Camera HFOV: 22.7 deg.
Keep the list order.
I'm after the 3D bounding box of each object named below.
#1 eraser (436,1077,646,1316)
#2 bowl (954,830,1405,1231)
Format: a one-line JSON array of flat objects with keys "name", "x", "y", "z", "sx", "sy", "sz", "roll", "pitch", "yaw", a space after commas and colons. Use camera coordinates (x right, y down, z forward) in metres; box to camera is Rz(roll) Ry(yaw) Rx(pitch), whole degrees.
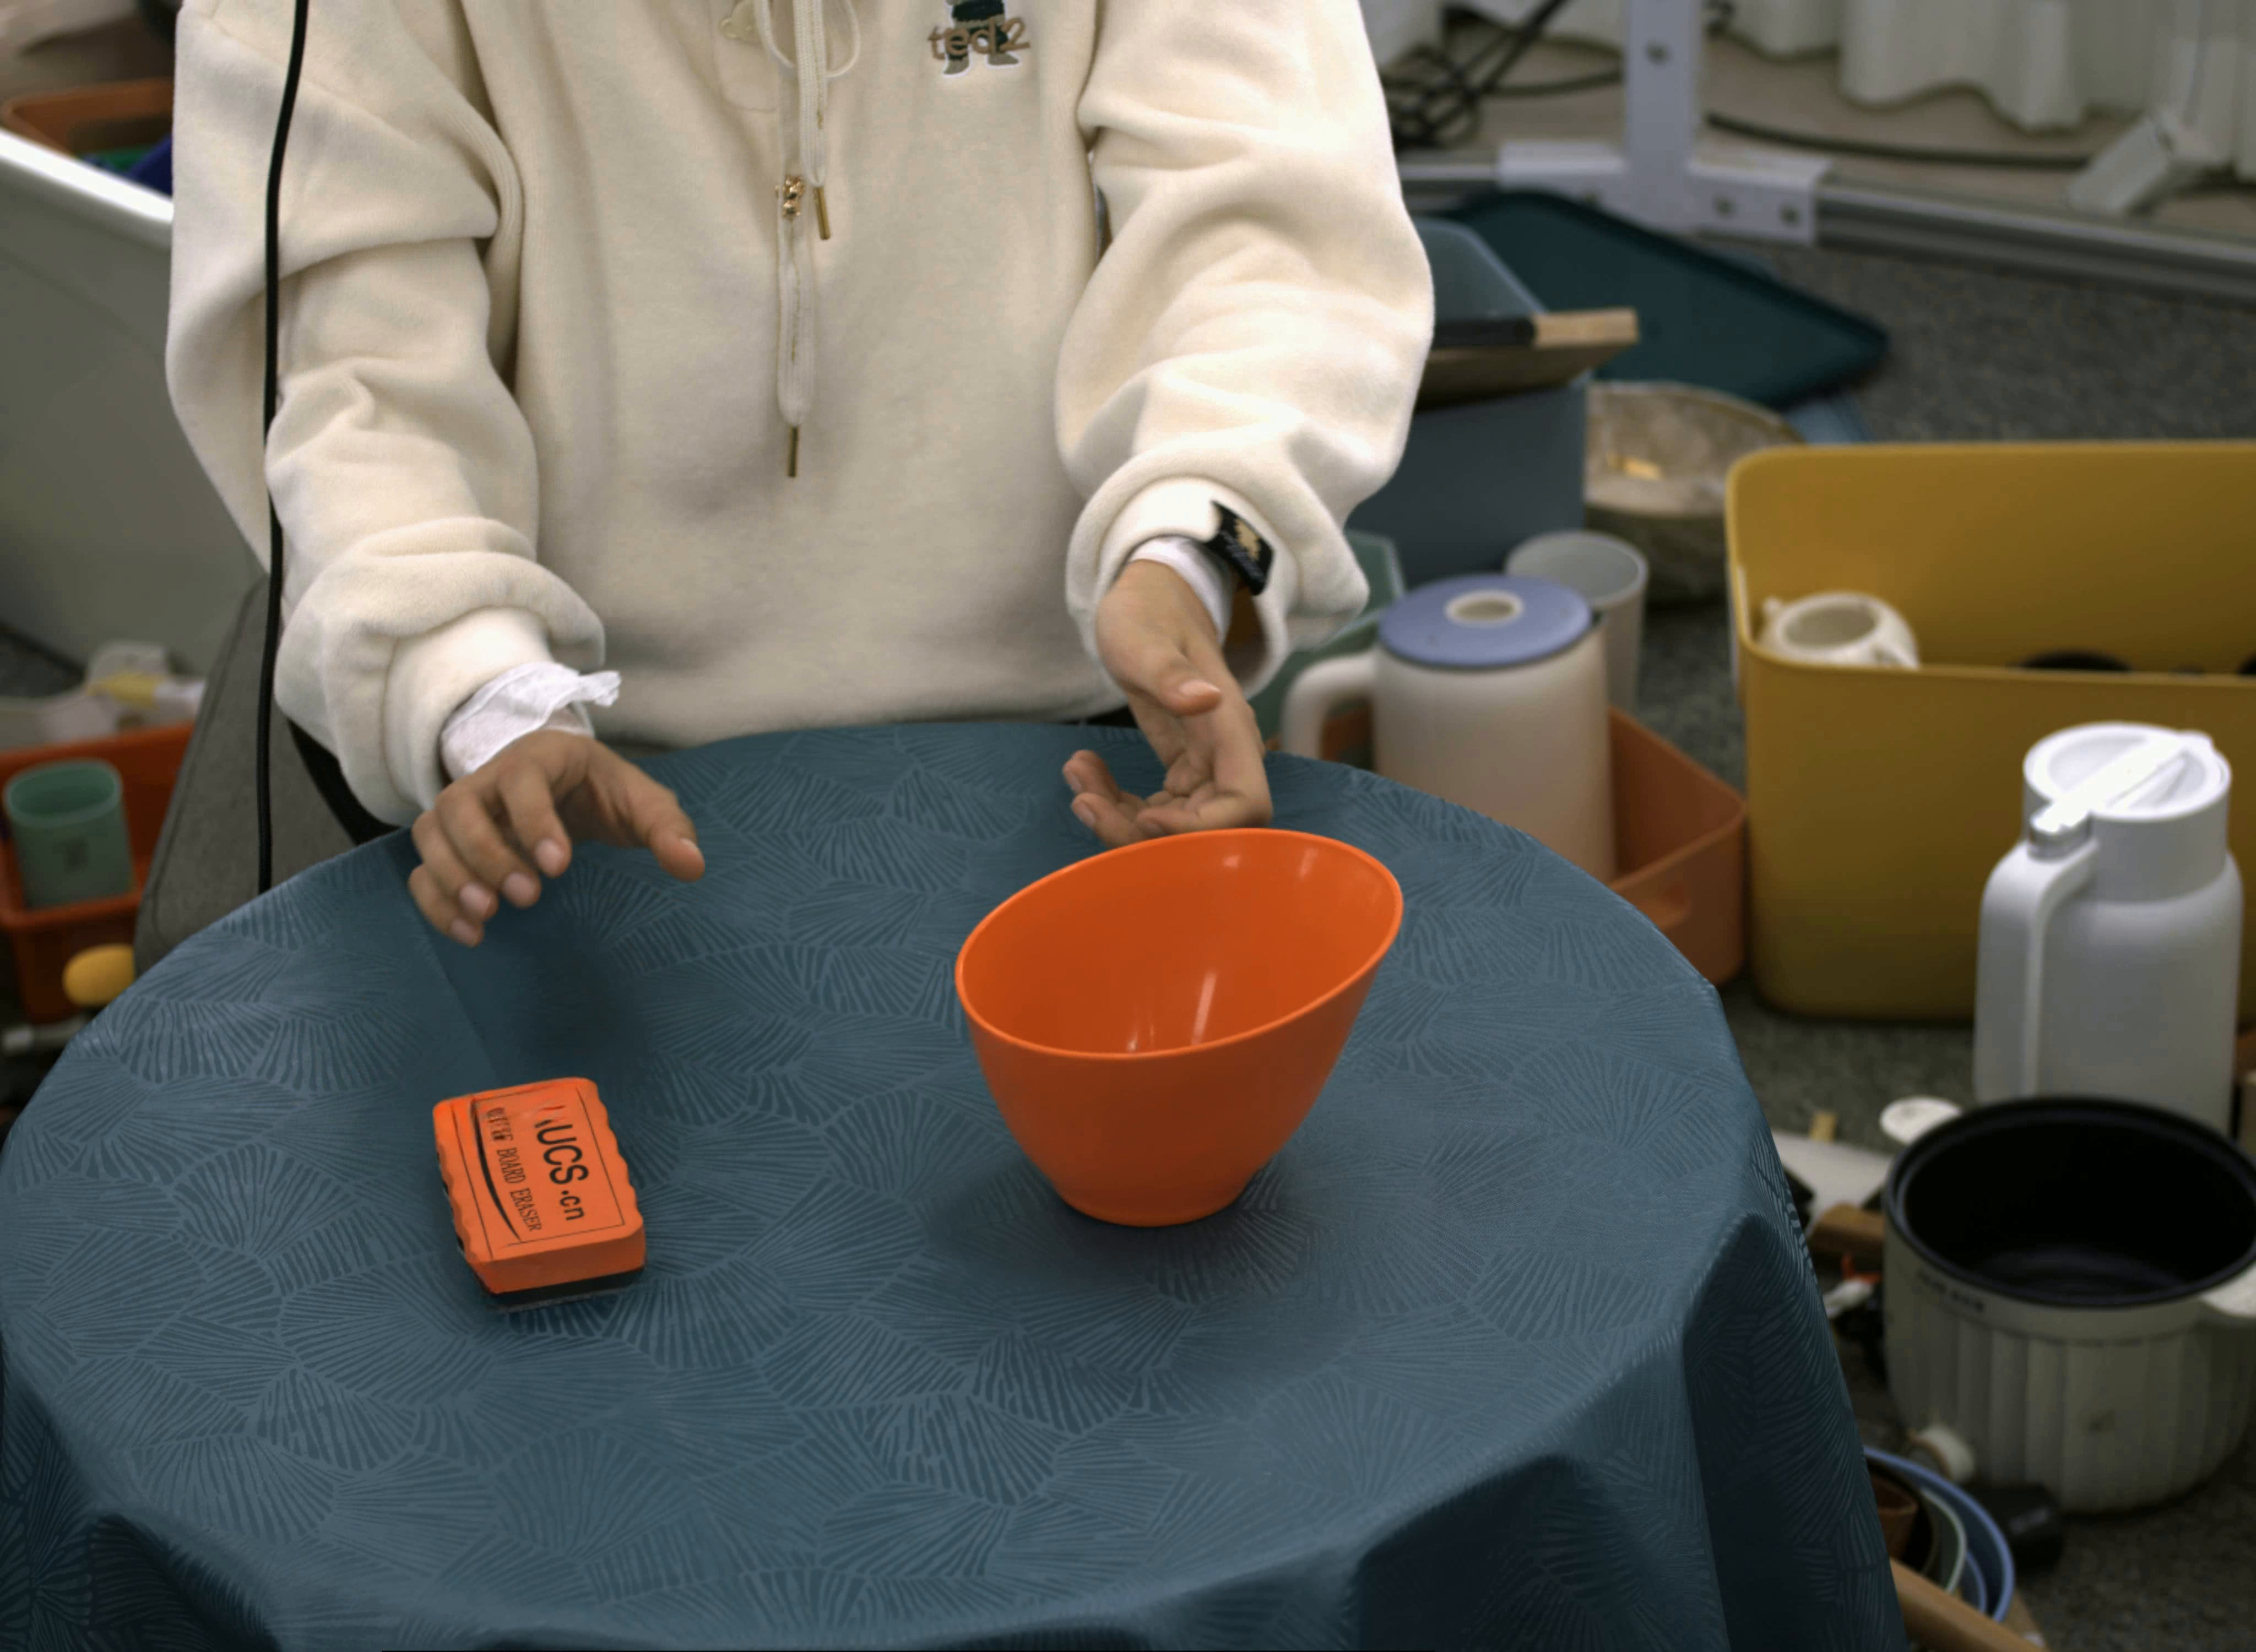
[{"name": "eraser", "x": -0.195, "y": 0.122, "z": 1.855, "sx": 0.059, "sy": 0.022, "sz": 0.109, "roll": -11, "pitch": 28, "yaw": -10}, {"name": "bowl", "x": 0.017, "y": 0.073, "z": 1.843, "sx": 0.147, "sy": 0.103, "sz": 0.150, "roll": 0, "pitch": 28, "yaw": 0}]
